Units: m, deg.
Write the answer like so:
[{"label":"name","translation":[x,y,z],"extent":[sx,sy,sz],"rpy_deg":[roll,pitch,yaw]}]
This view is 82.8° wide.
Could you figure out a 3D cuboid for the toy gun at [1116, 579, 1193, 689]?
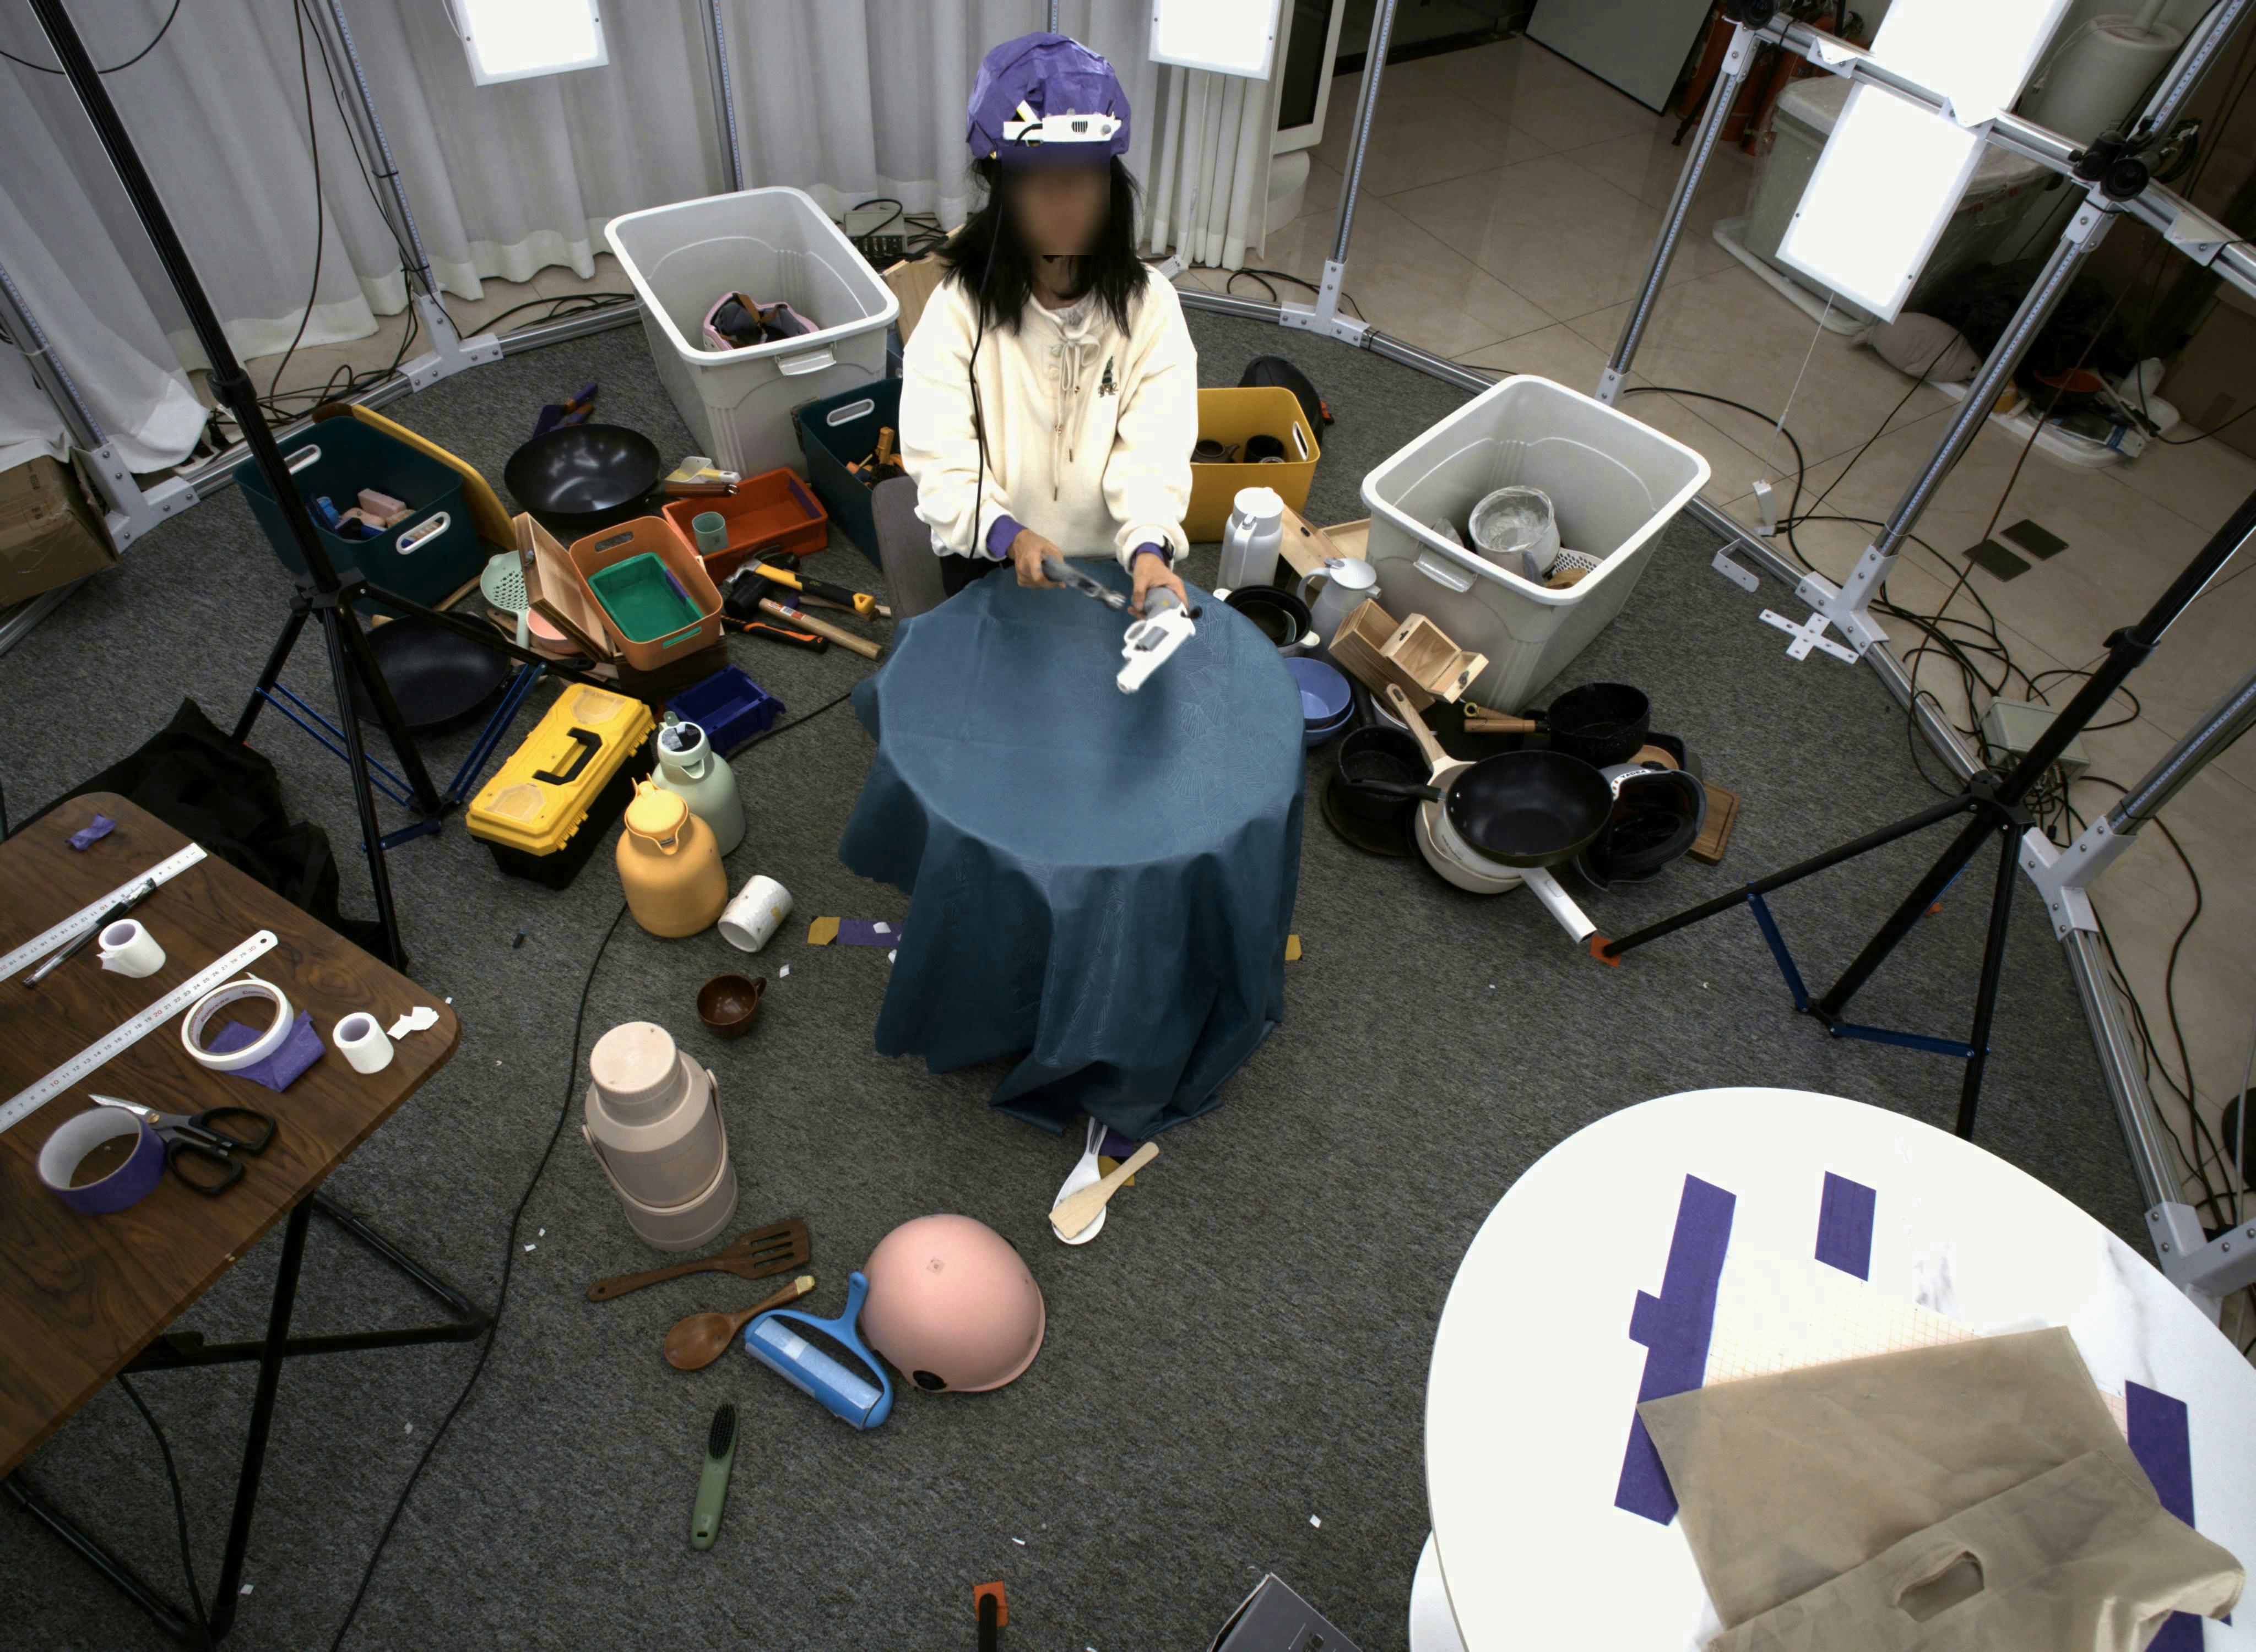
[{"label":"toy gun","translation":[0.018,-0.265,1.750],"extent":[0.143,0.038,0.212],"rpy_deg":[14,52,41]}]

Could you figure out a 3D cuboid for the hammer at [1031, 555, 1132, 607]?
[{"label":"hammer","translation":[-0.086,-0.342,1.749],"extent":[0.110,0.026,0.281],"rpy_deg":[19,9,-22]}]
